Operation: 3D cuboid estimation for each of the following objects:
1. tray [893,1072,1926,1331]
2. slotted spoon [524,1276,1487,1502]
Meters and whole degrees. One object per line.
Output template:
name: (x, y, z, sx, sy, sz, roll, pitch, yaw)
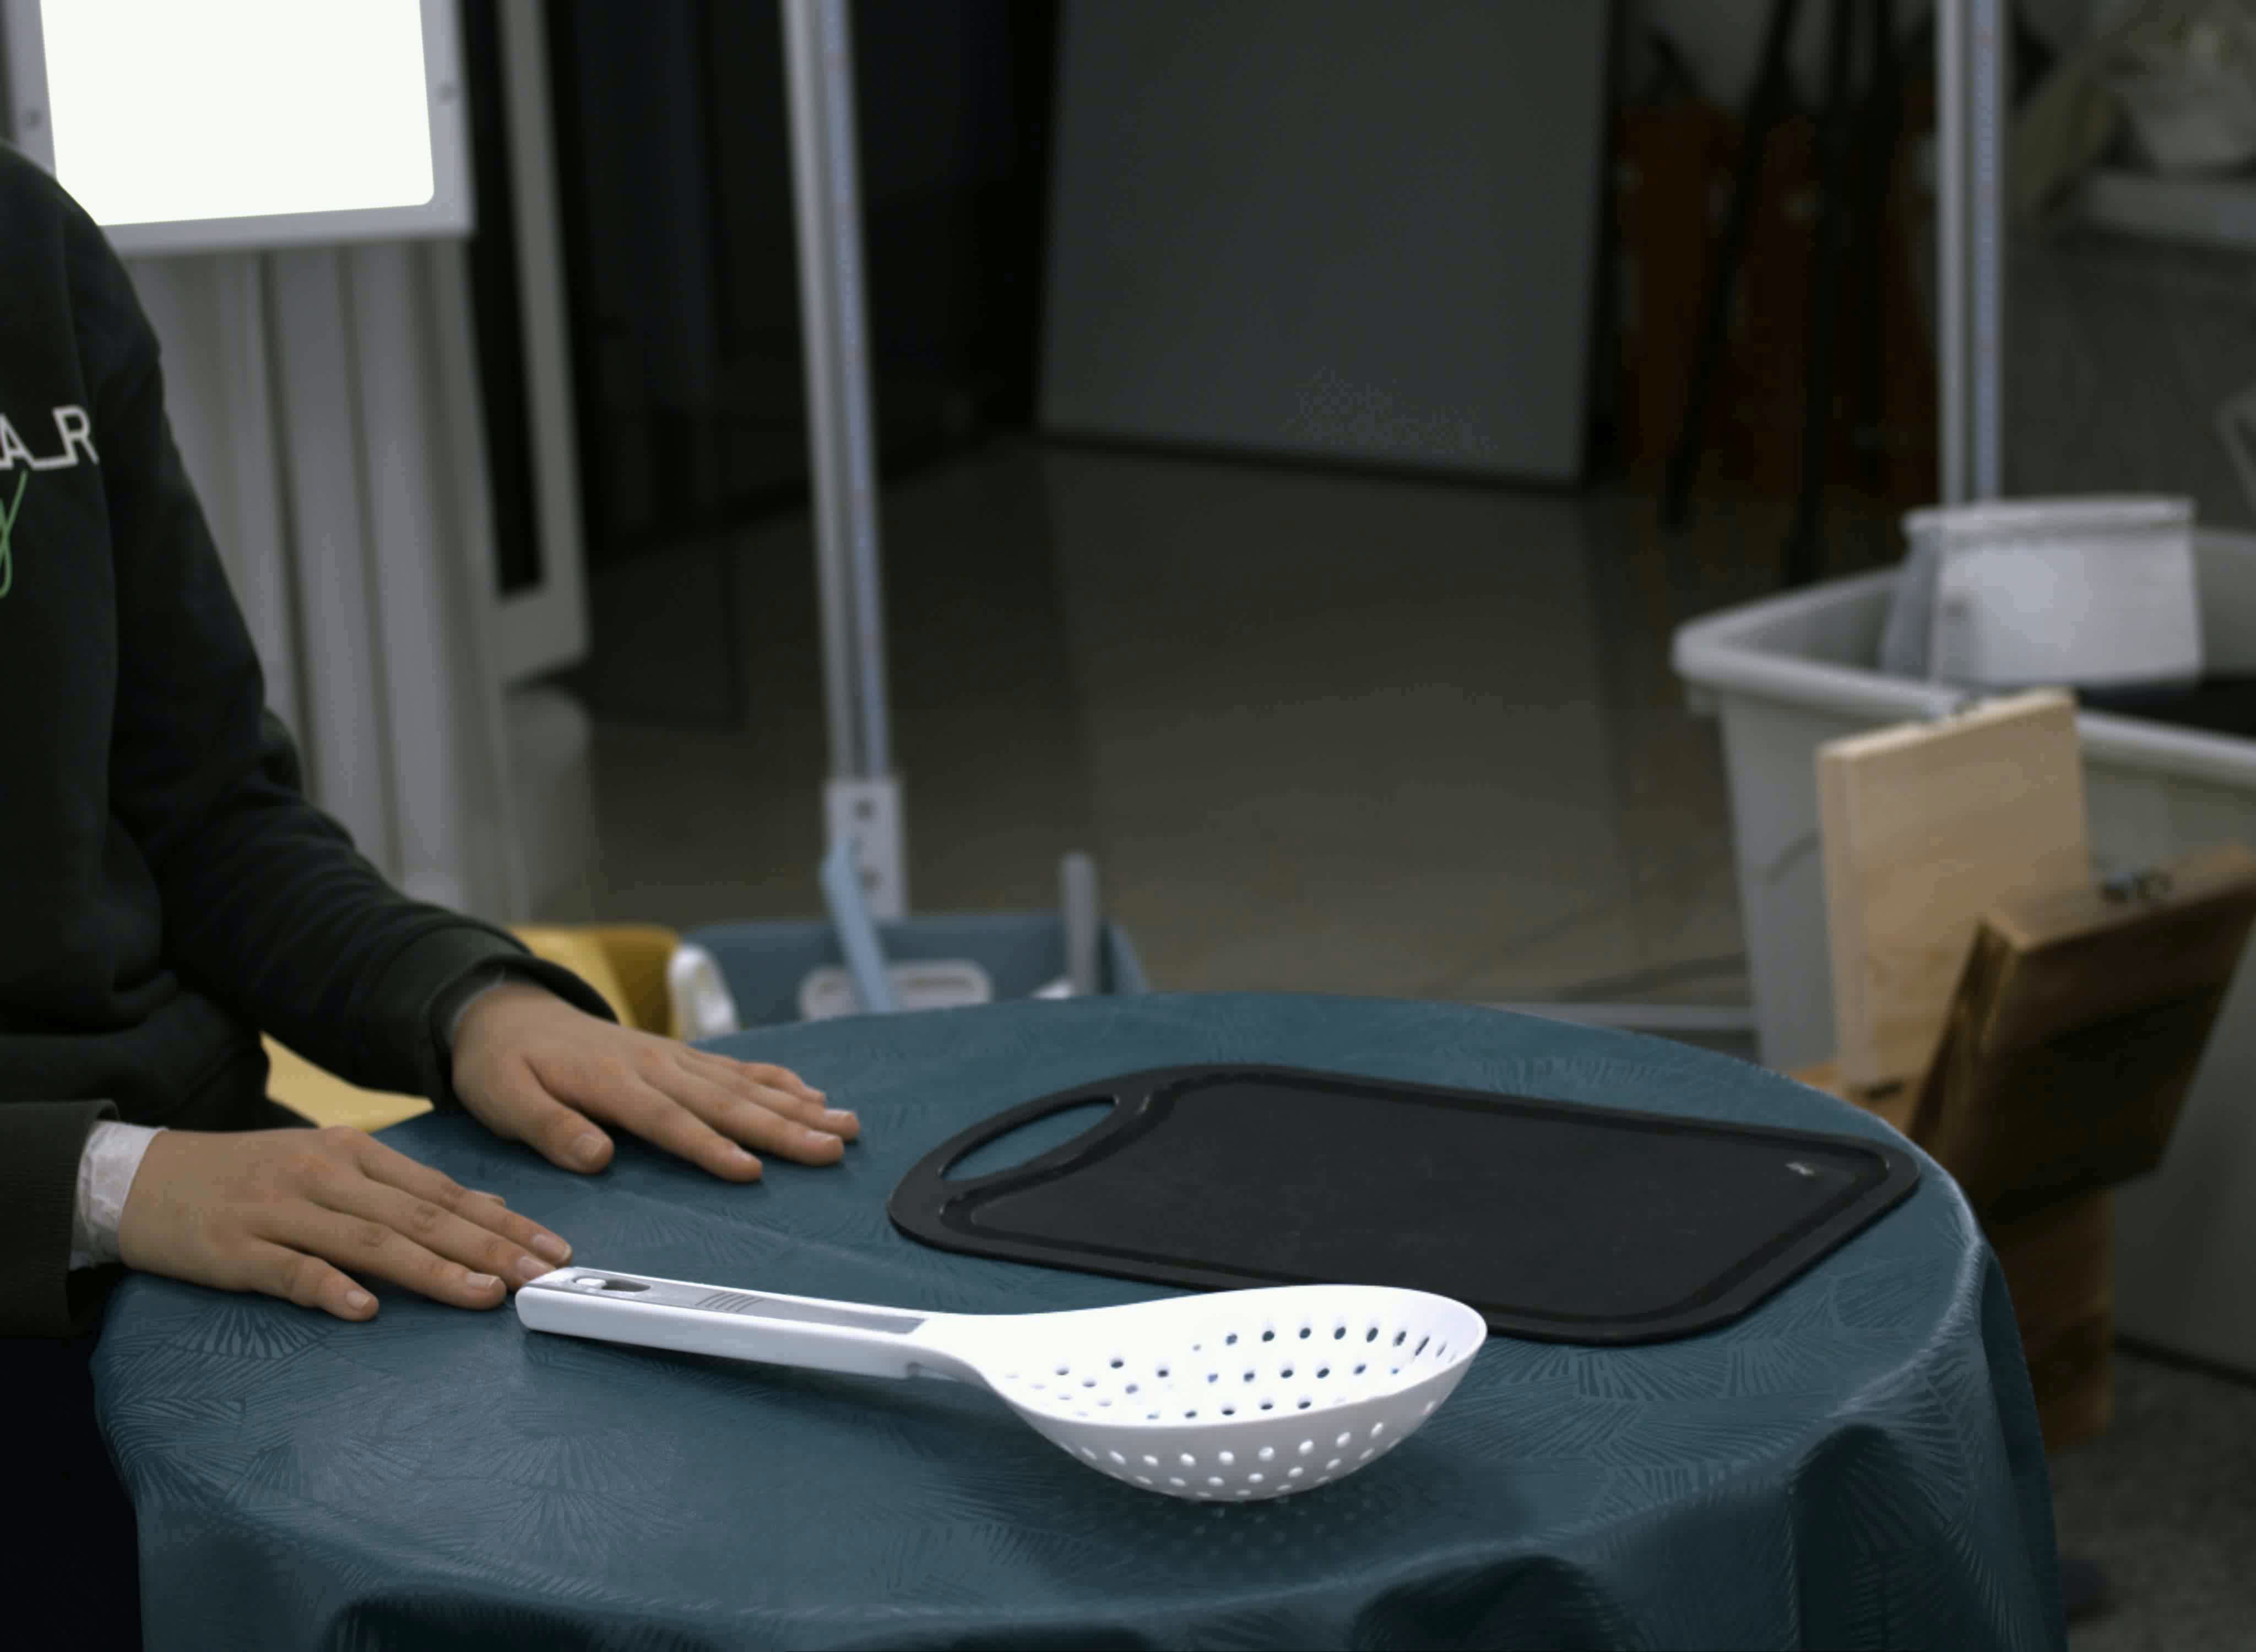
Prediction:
tray: (0.083, 0.117, 1.748, 0.327, 0.010, 0.207, 5, 16, 33)
slotted spoon: (-0.048, 0.152, 1.567, 0.352, 0.046, 0.133, 7, 15, 40)
